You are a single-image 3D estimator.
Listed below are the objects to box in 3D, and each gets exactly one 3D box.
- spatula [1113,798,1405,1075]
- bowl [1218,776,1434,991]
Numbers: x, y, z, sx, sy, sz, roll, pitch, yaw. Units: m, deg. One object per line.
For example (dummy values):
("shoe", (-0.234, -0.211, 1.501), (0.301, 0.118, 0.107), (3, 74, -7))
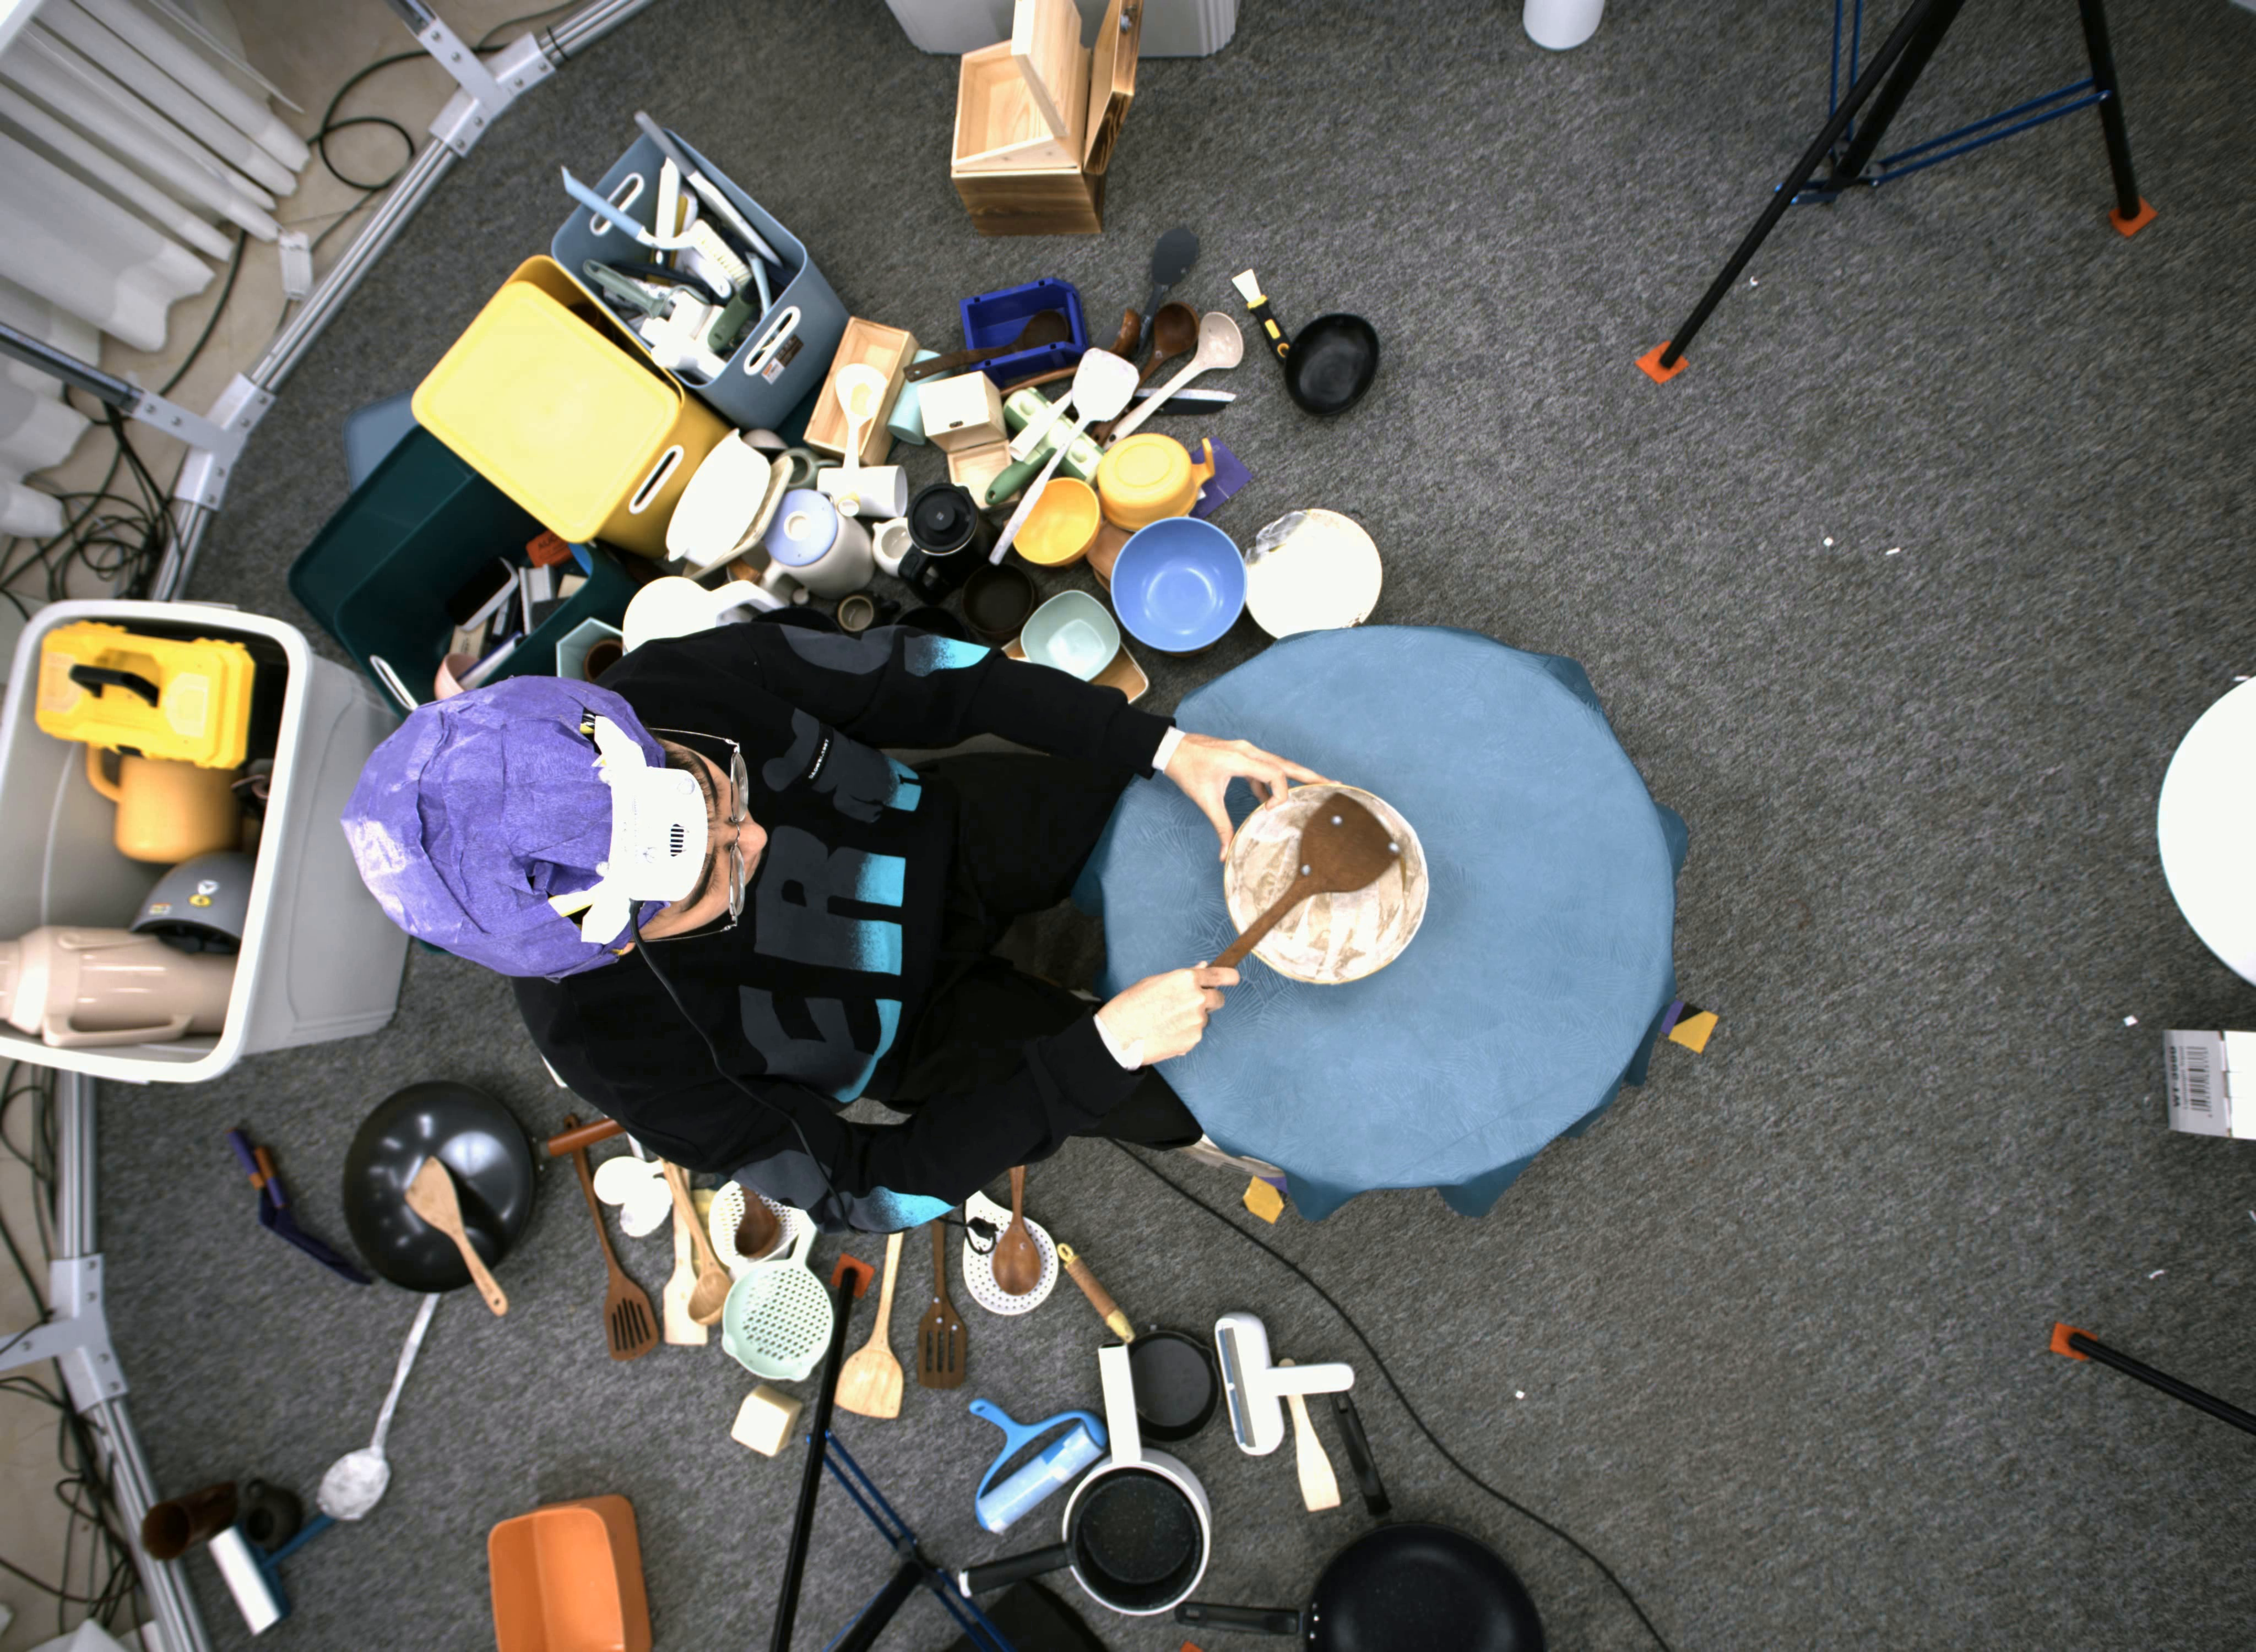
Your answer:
("spatula", (0.124, 0.108, 1.328), (0.380, 0.016, 0.096), (-40, 84, -24))
("bowl", (0.198, 0.062, 1.408), (0.215, 0.095, 0.213), (0, 86, 5))
